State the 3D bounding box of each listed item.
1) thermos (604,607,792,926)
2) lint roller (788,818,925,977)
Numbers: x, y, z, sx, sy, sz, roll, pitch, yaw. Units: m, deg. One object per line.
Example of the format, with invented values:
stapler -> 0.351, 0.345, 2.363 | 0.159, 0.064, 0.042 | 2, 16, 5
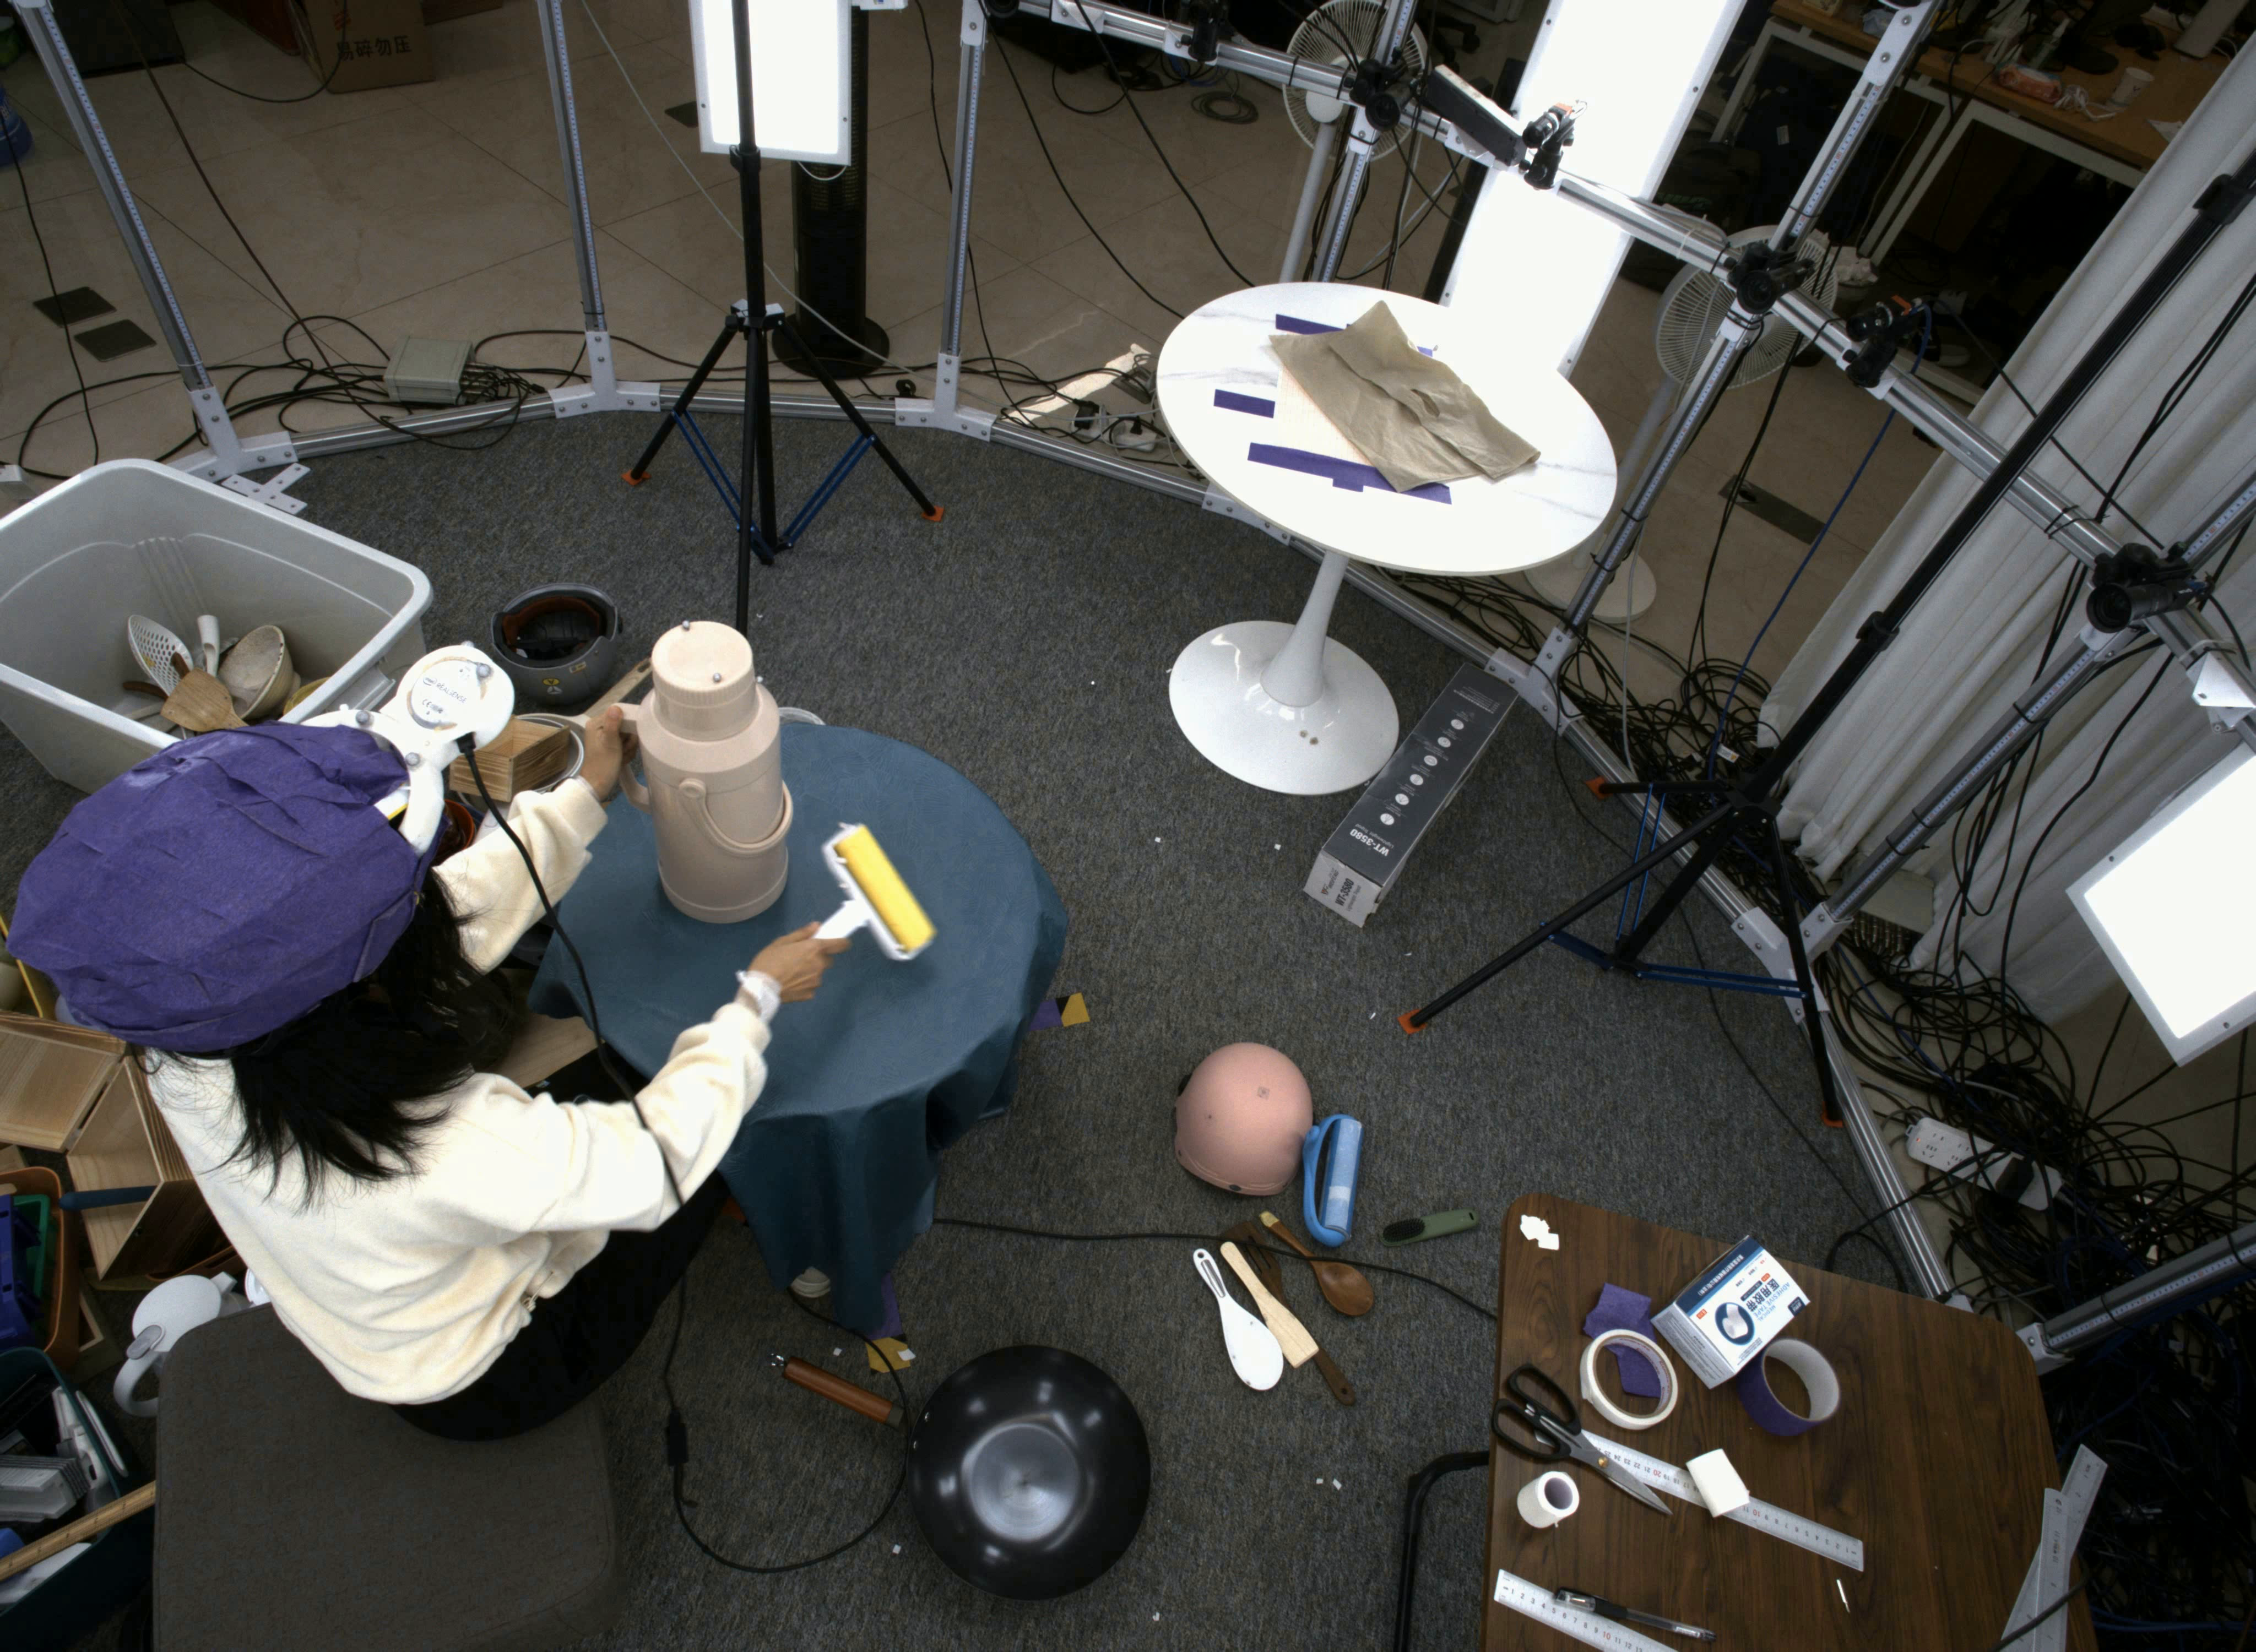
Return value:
thermos -> -0.497, -0.067, 1.493 | 0.206, 0.415, 0.172 | 6, 52, -7
lint roller -> -0.330, 0.107, 1.515 | 0.179, 0.050, 0.190 | 61, 30, -21
